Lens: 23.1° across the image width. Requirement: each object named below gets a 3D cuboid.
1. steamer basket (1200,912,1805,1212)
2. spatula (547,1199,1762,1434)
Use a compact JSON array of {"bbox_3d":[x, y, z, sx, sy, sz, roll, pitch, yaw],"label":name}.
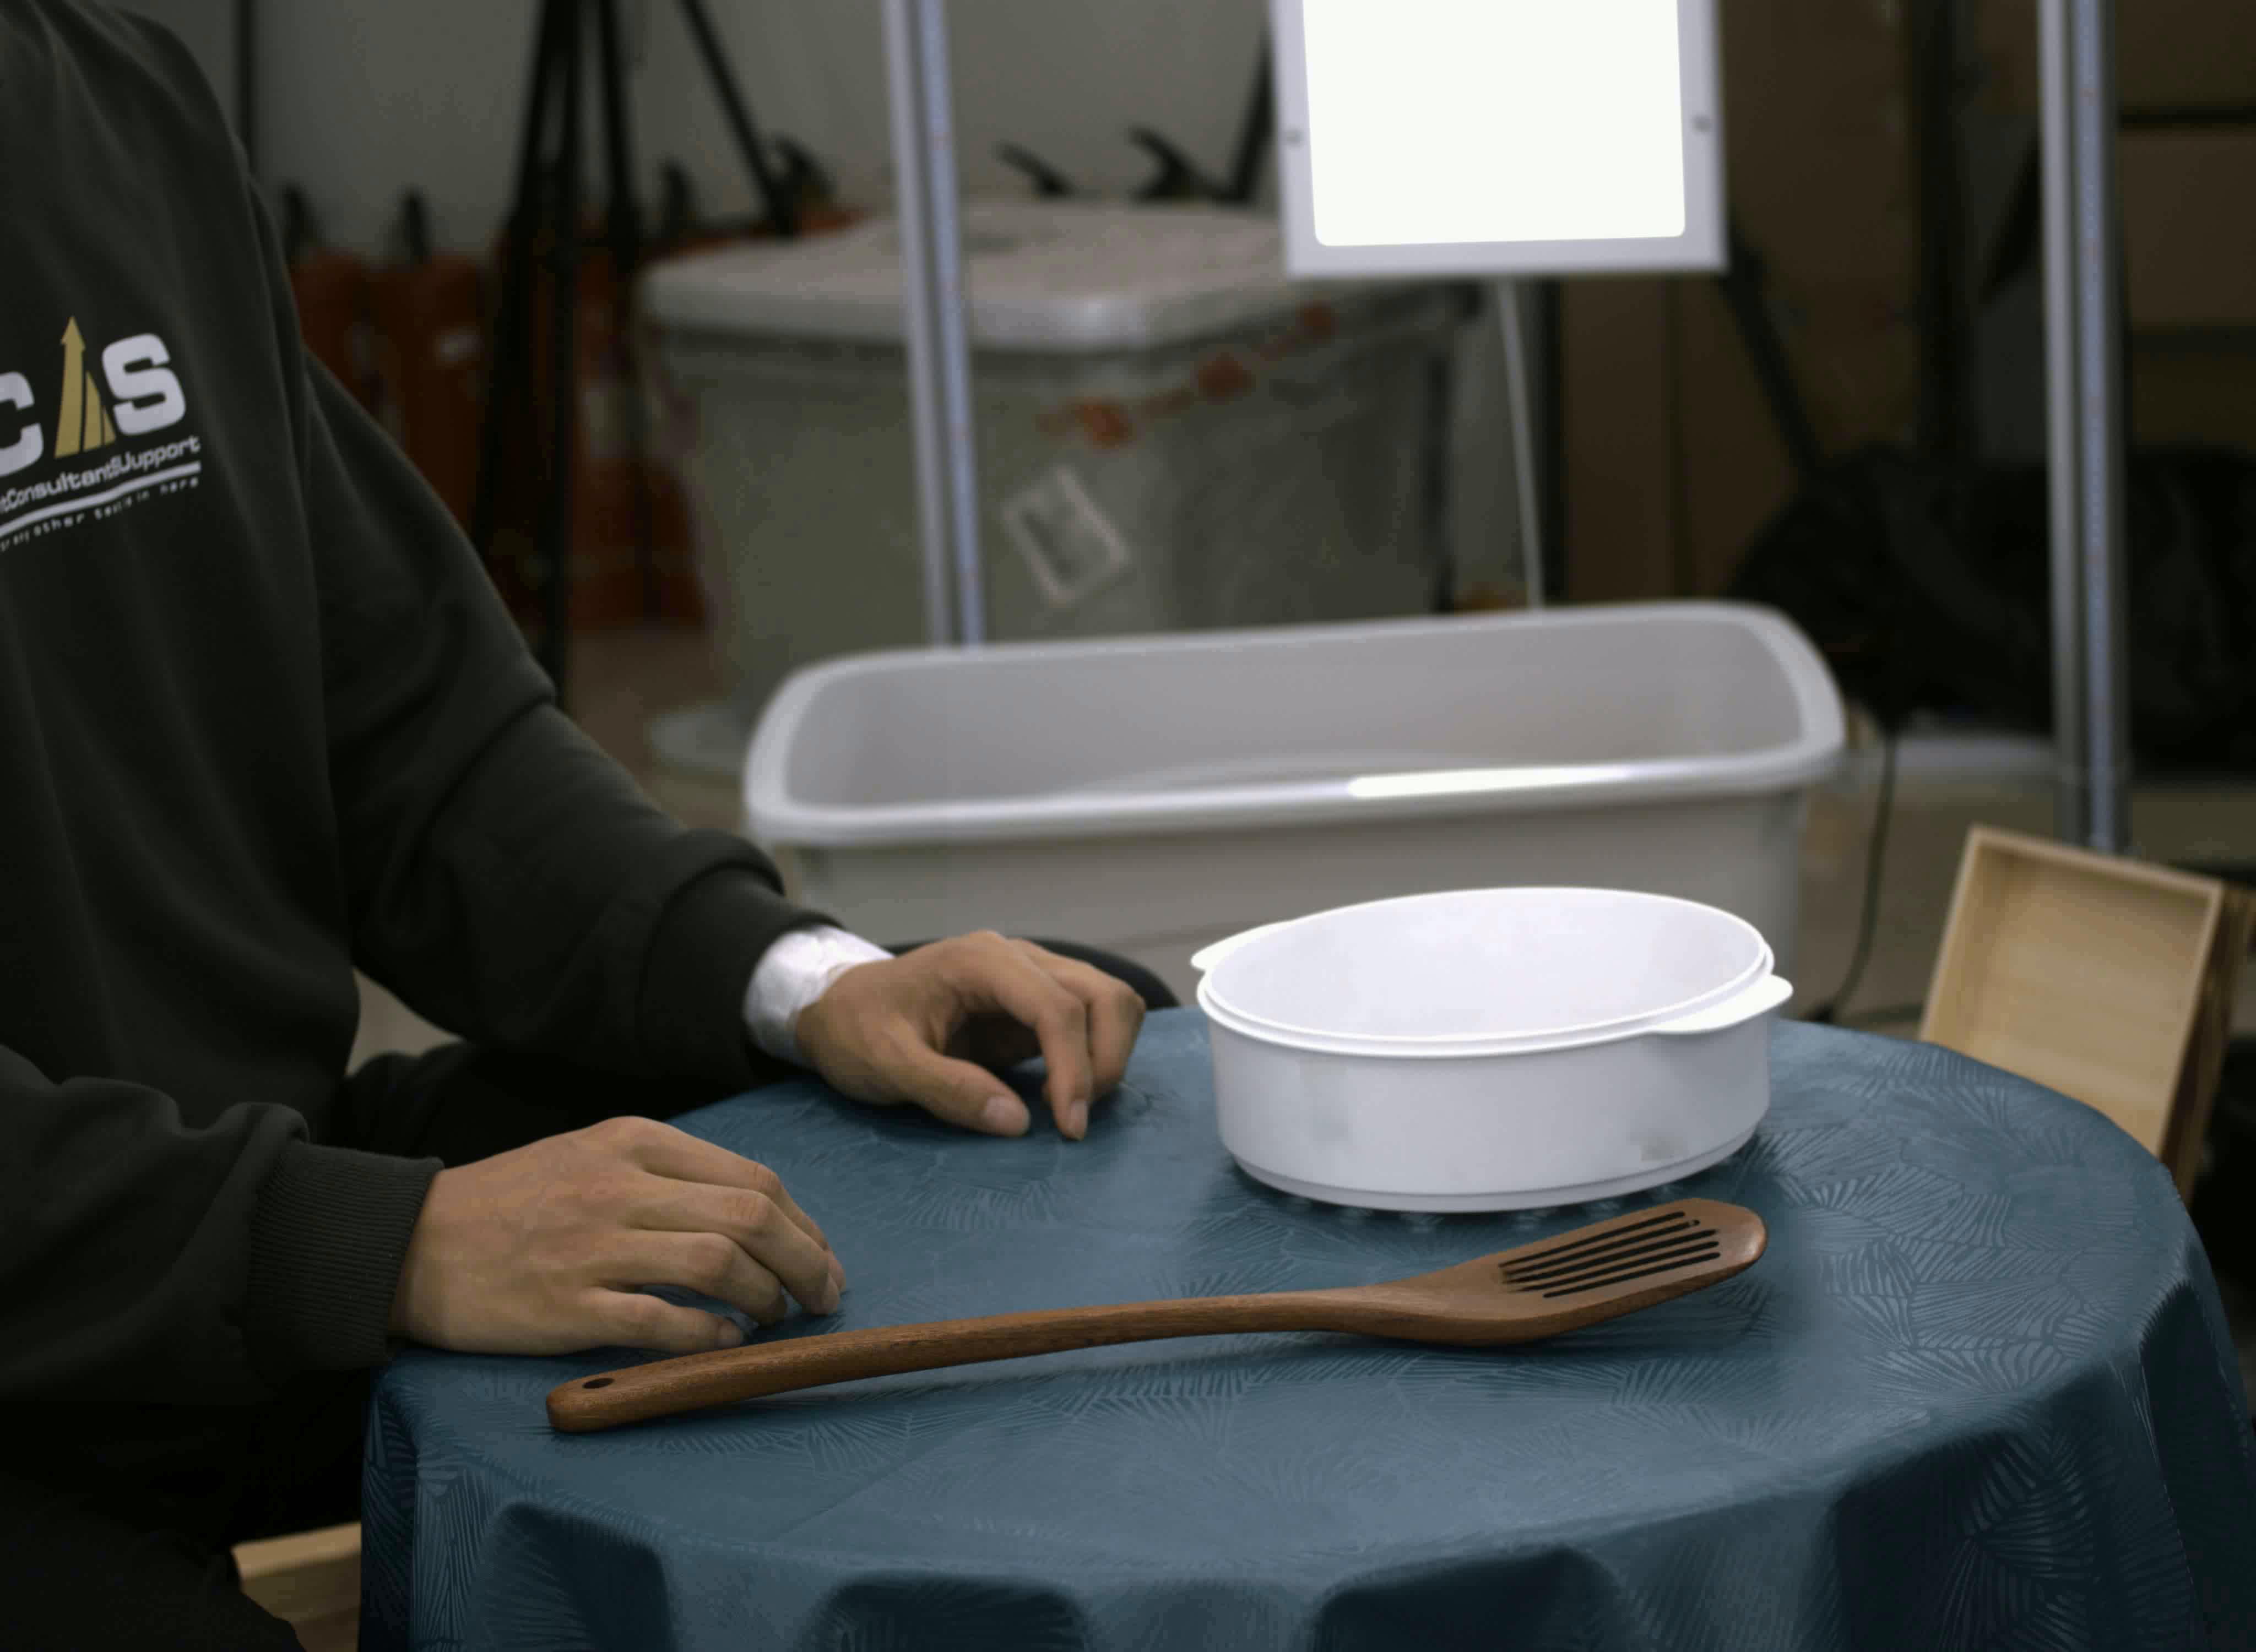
[{"bbox_3d":[0.130,0.082,1.908,0.235,0.069,0.197,2,13,41],"label":"steamer basket"},{"bbox_3d":[0.009,0.159,1.724,0.383,0.024,0.086,-7,11,-3],"label":"spatula"}]
